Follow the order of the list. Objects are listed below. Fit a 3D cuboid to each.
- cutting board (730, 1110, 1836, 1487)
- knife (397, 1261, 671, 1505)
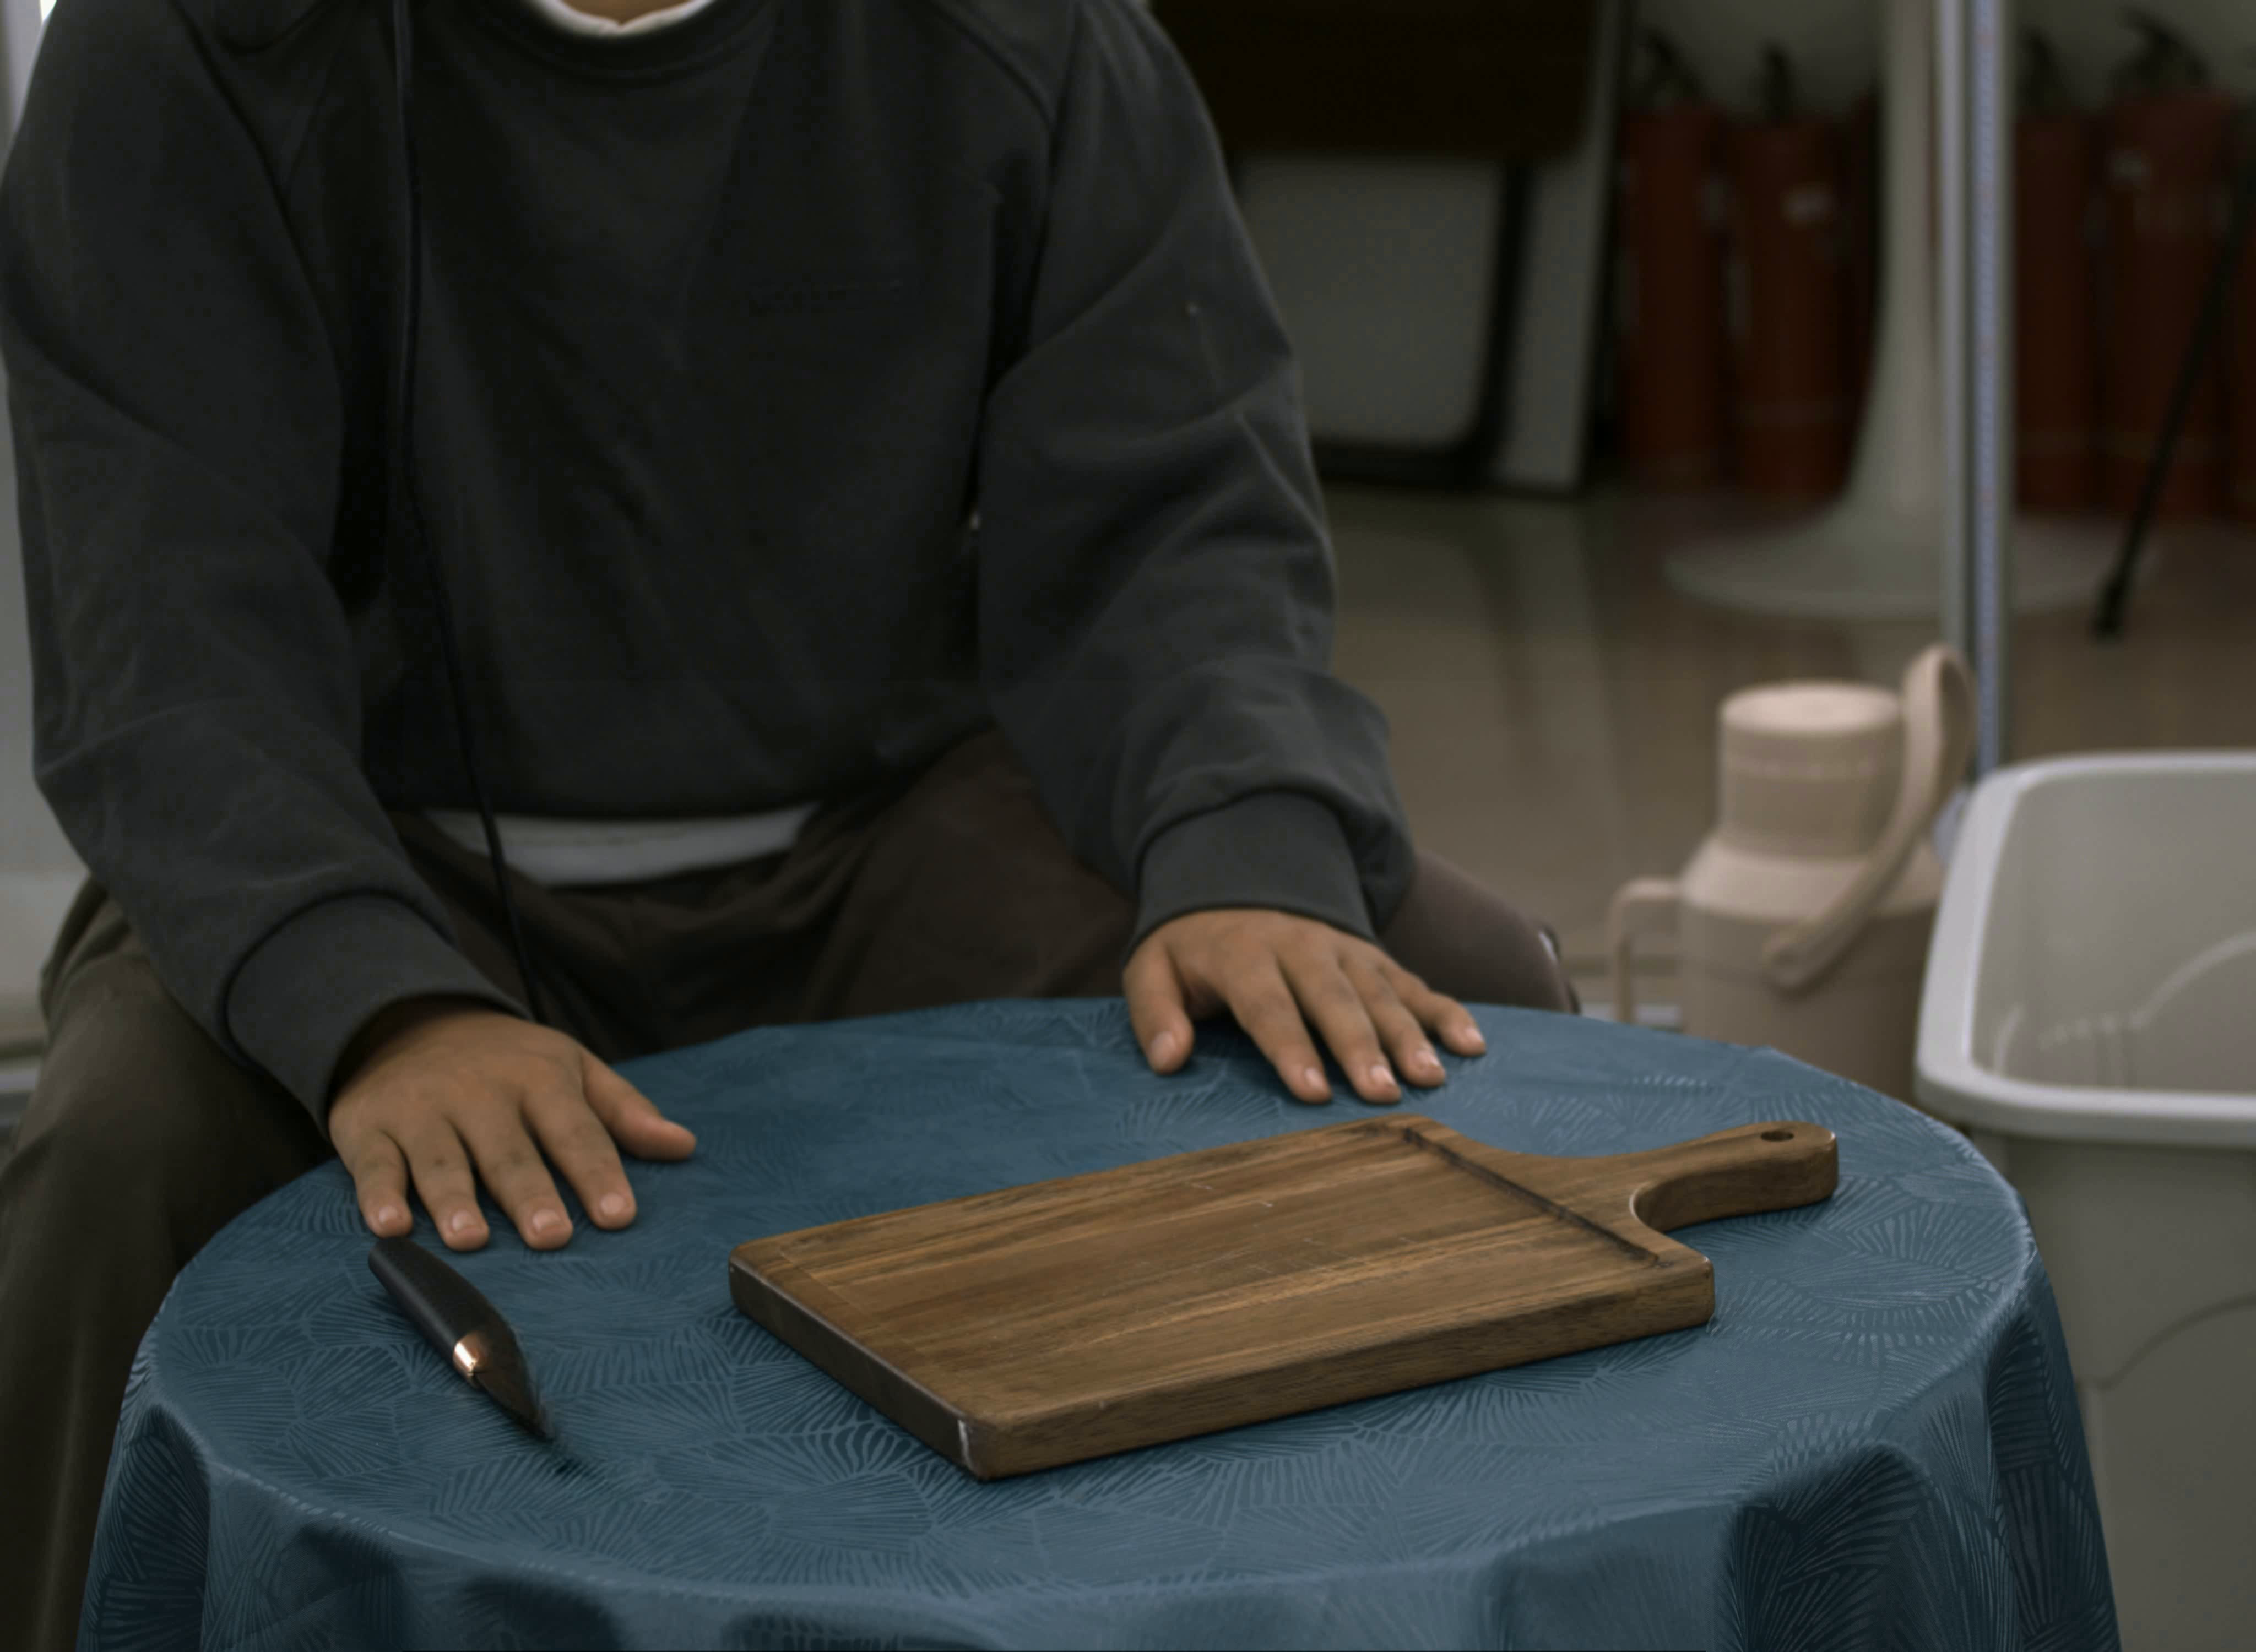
[{"bbox_3d":[0.071,0.132,1.666,0.344,0.023,0.203,-10,15,-24],"label":"cutting board"},{"bbox_3d":[-0.180,0.167,1.620,0.025,0.017,0.228,-3,13,-23],"label":"knife"}]
